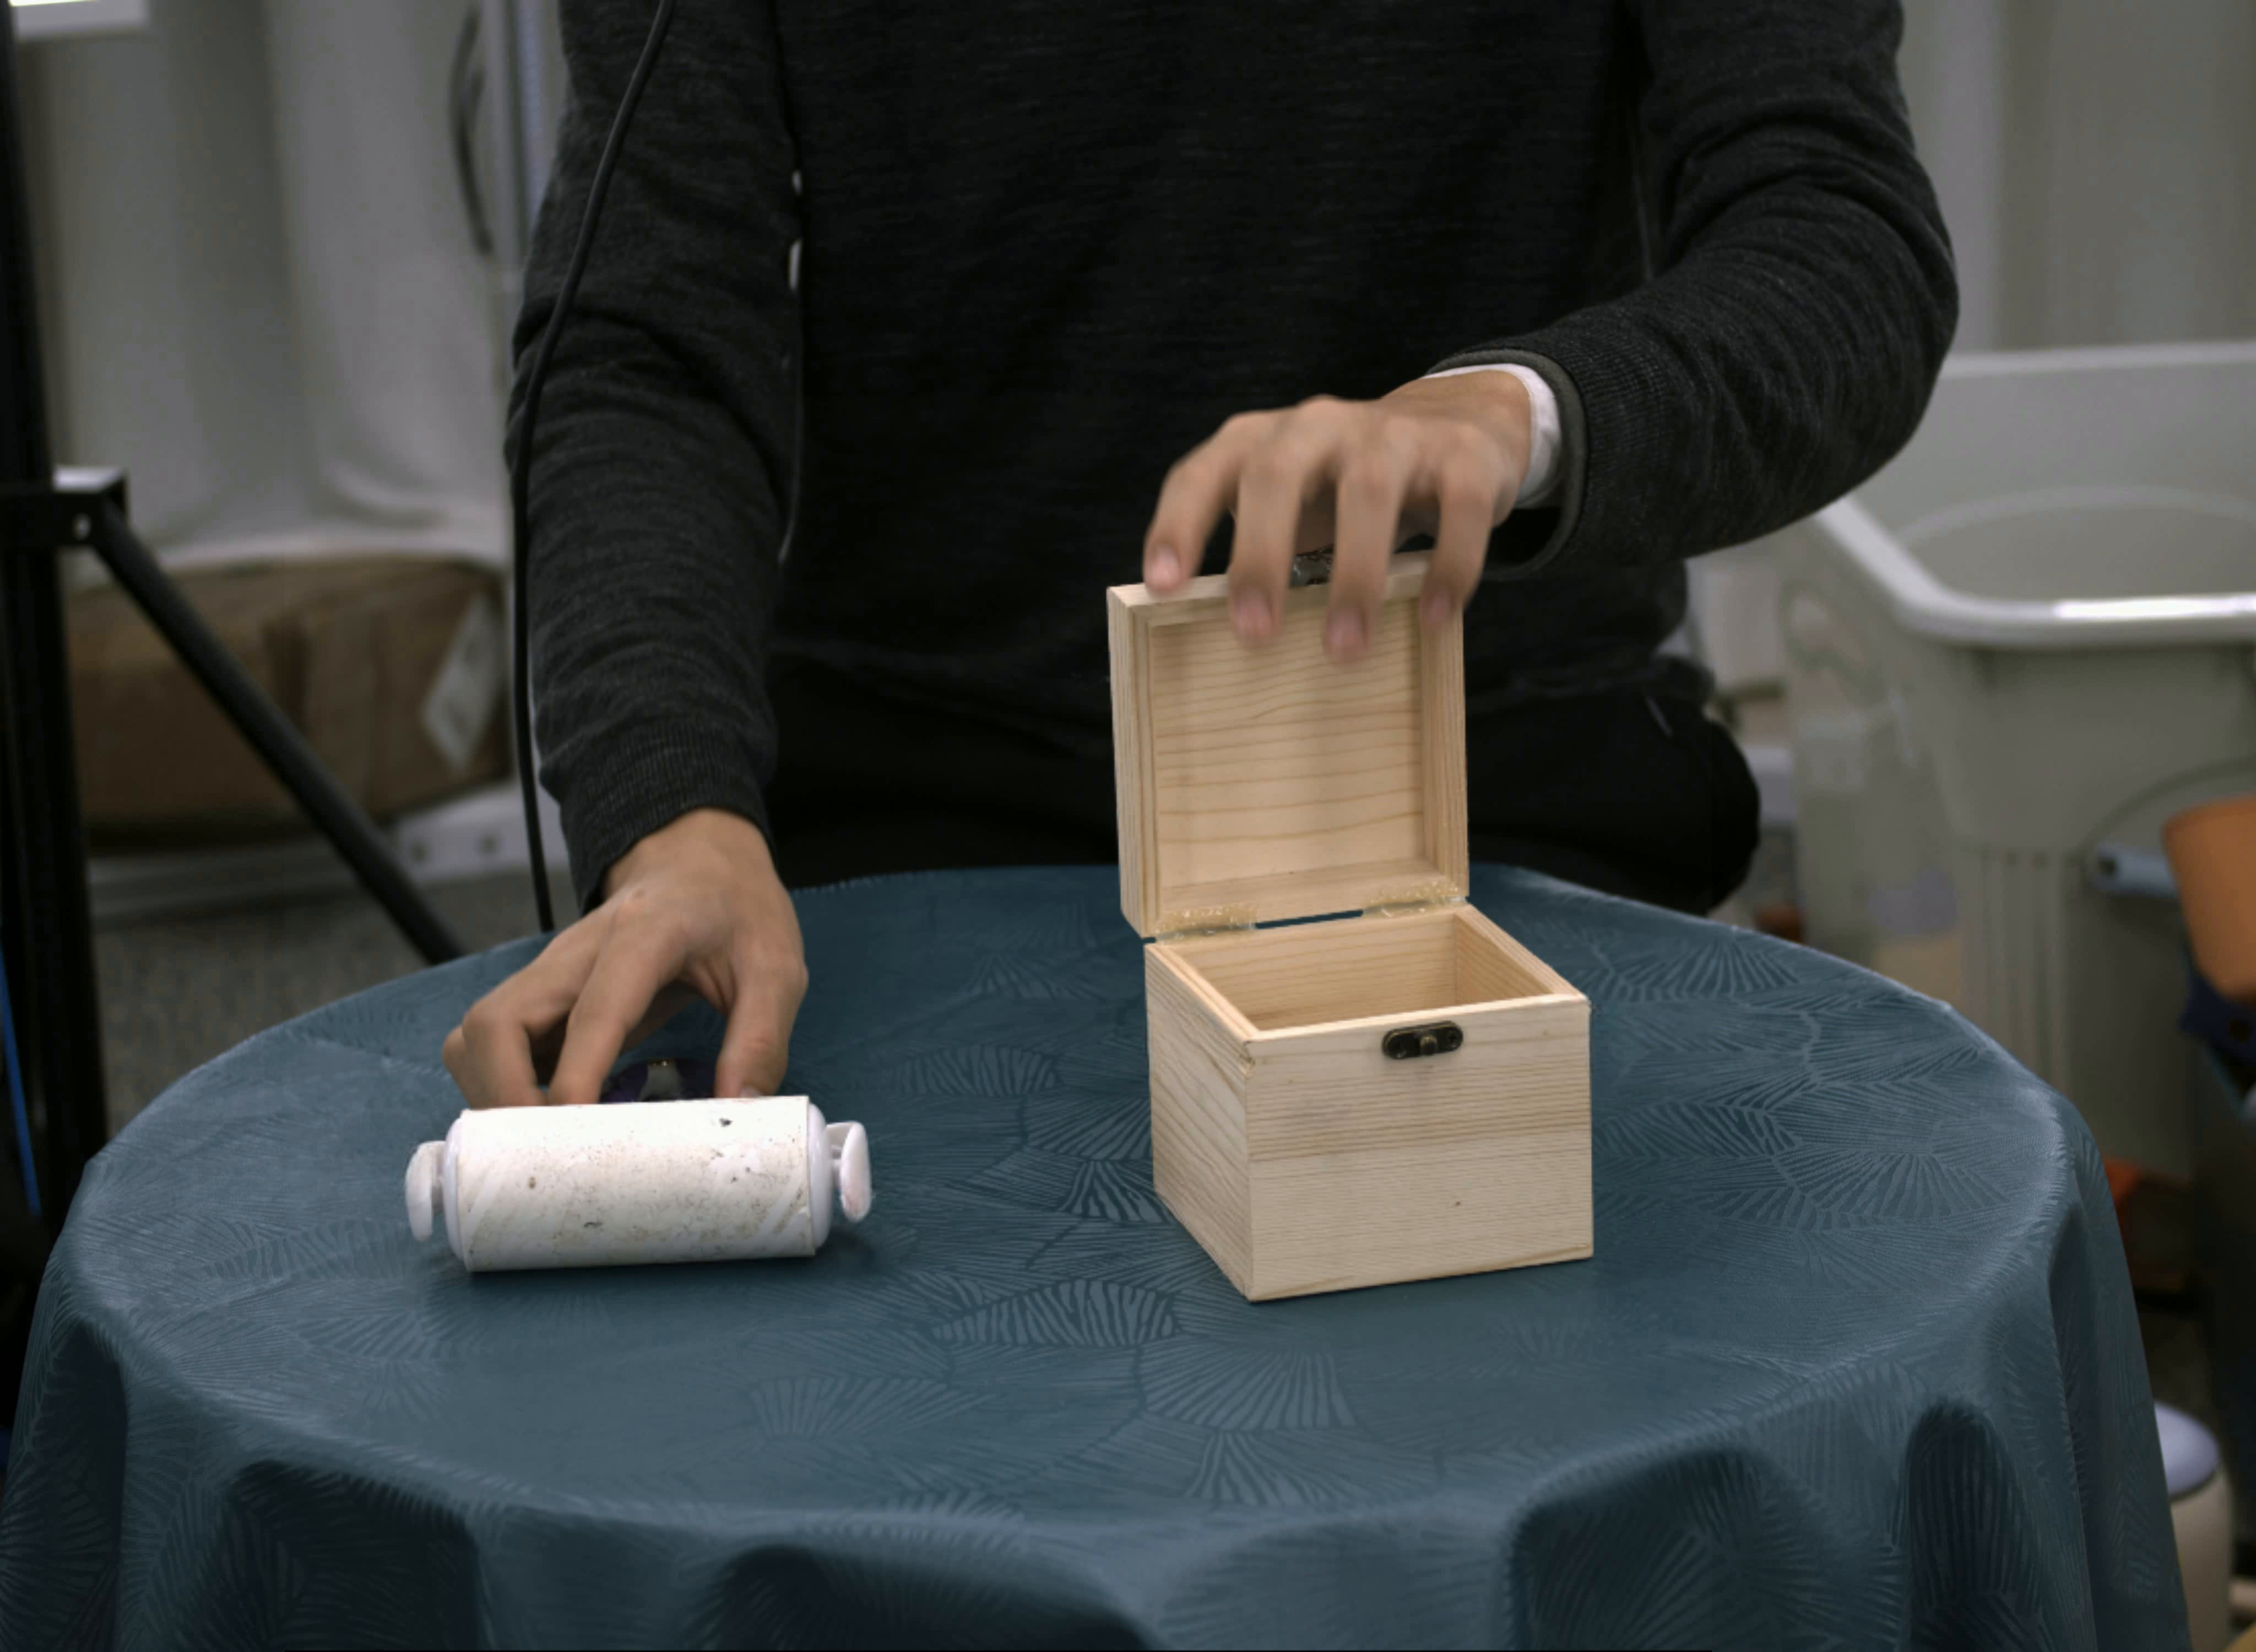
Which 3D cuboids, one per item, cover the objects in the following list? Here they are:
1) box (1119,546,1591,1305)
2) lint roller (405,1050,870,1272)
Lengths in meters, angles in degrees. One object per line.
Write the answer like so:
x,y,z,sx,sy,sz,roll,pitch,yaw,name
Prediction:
0.064,0.025,1.504,0.101,0.184,0.136,-6,15,-13,box
-0.140,0.083,1.581,0.132,0.050,0.181,-3,18,2,lint roller
